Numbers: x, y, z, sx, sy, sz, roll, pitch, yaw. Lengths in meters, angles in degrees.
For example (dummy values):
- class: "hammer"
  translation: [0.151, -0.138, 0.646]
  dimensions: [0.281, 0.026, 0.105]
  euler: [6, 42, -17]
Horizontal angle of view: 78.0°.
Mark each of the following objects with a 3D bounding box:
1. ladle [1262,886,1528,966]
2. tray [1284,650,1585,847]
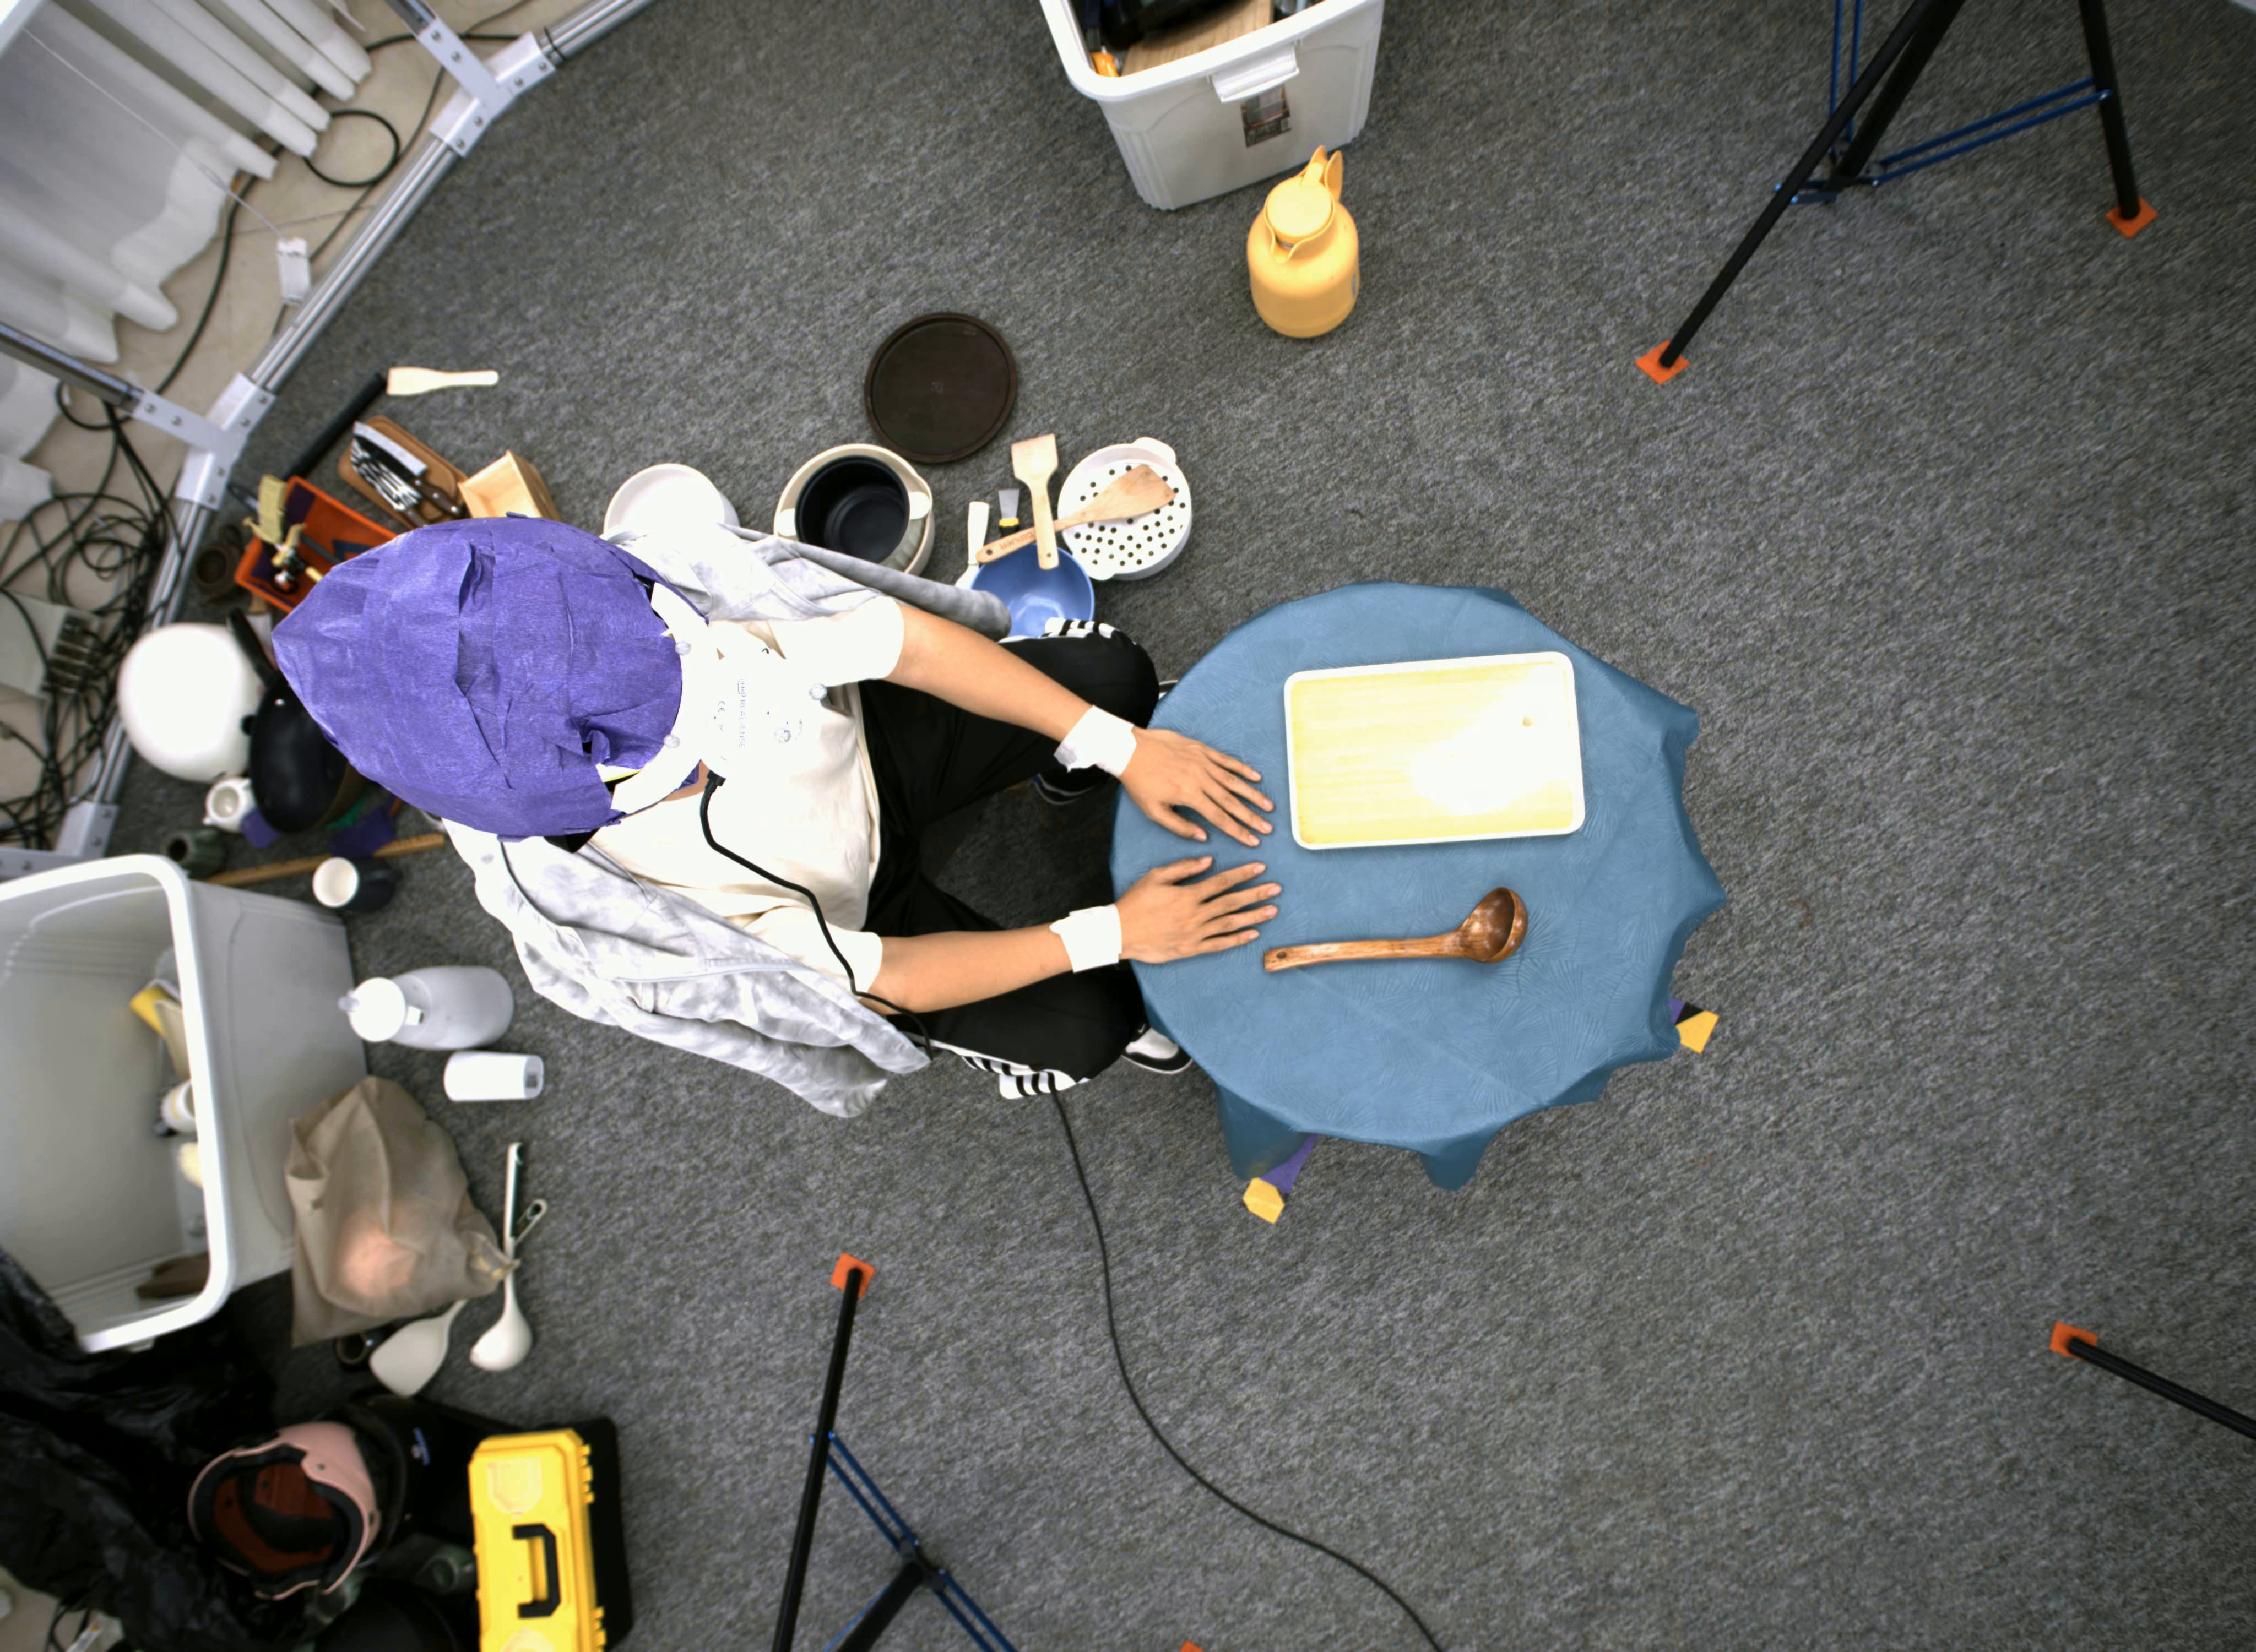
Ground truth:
- class: "ladle"
  translation: [0.271, 0.109, 1.420]
  dimensions: [0.275, 0.078, 0.079]
  euler: [-4, 46, 11]
- class: "tray"
  translation: [0.318, -0.081, 1.443]
  dimensions: [0.301, 0.027, 0.191]
  euler: [-3, 86, 11]
